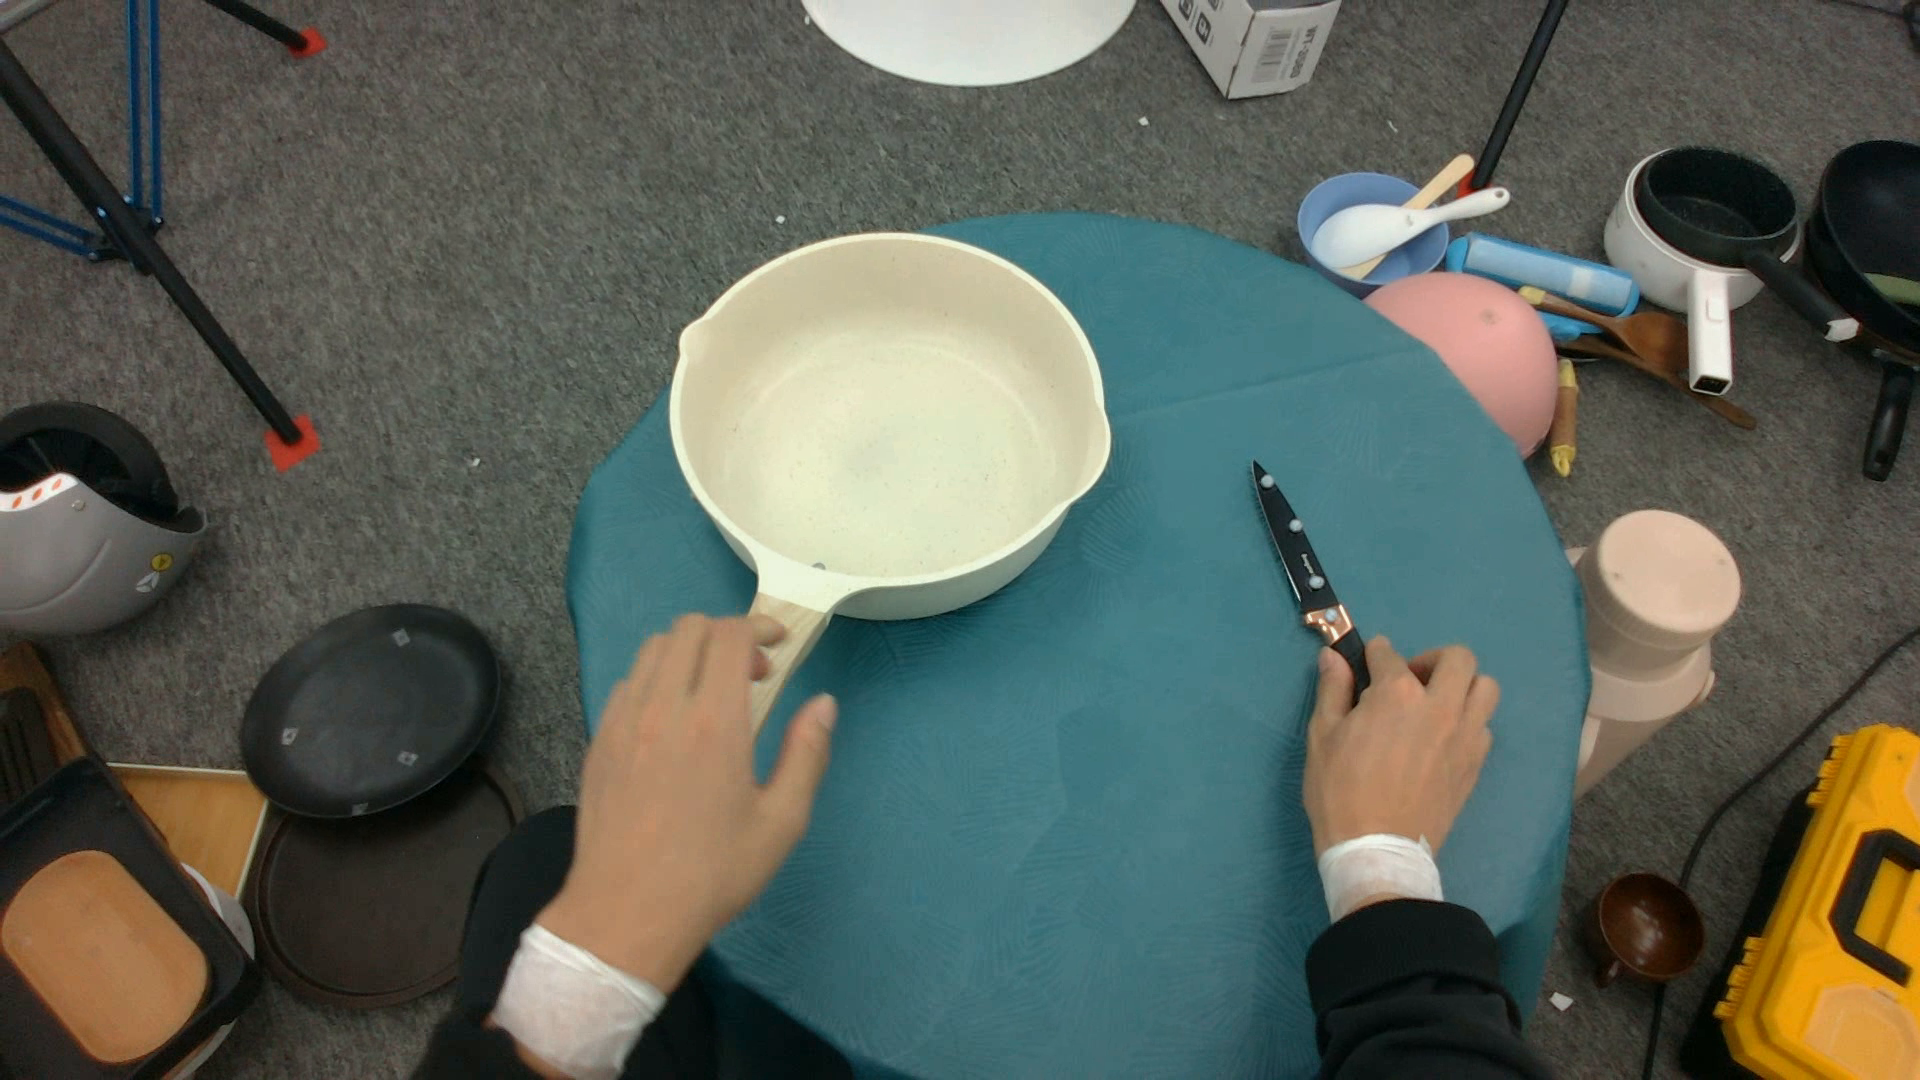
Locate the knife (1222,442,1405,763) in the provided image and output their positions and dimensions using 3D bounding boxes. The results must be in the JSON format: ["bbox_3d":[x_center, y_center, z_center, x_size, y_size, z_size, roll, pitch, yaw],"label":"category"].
[{"bbox_3d":[0.207,0.031,0.820,0.026,0.017,0.226,-19,62,0],"label":"knife"}]

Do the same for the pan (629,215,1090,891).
[{"bbox_3d":[-0.083,0.000,0.779,0.263,0.101,0.437,17,61,6],"label":"pan"}]
